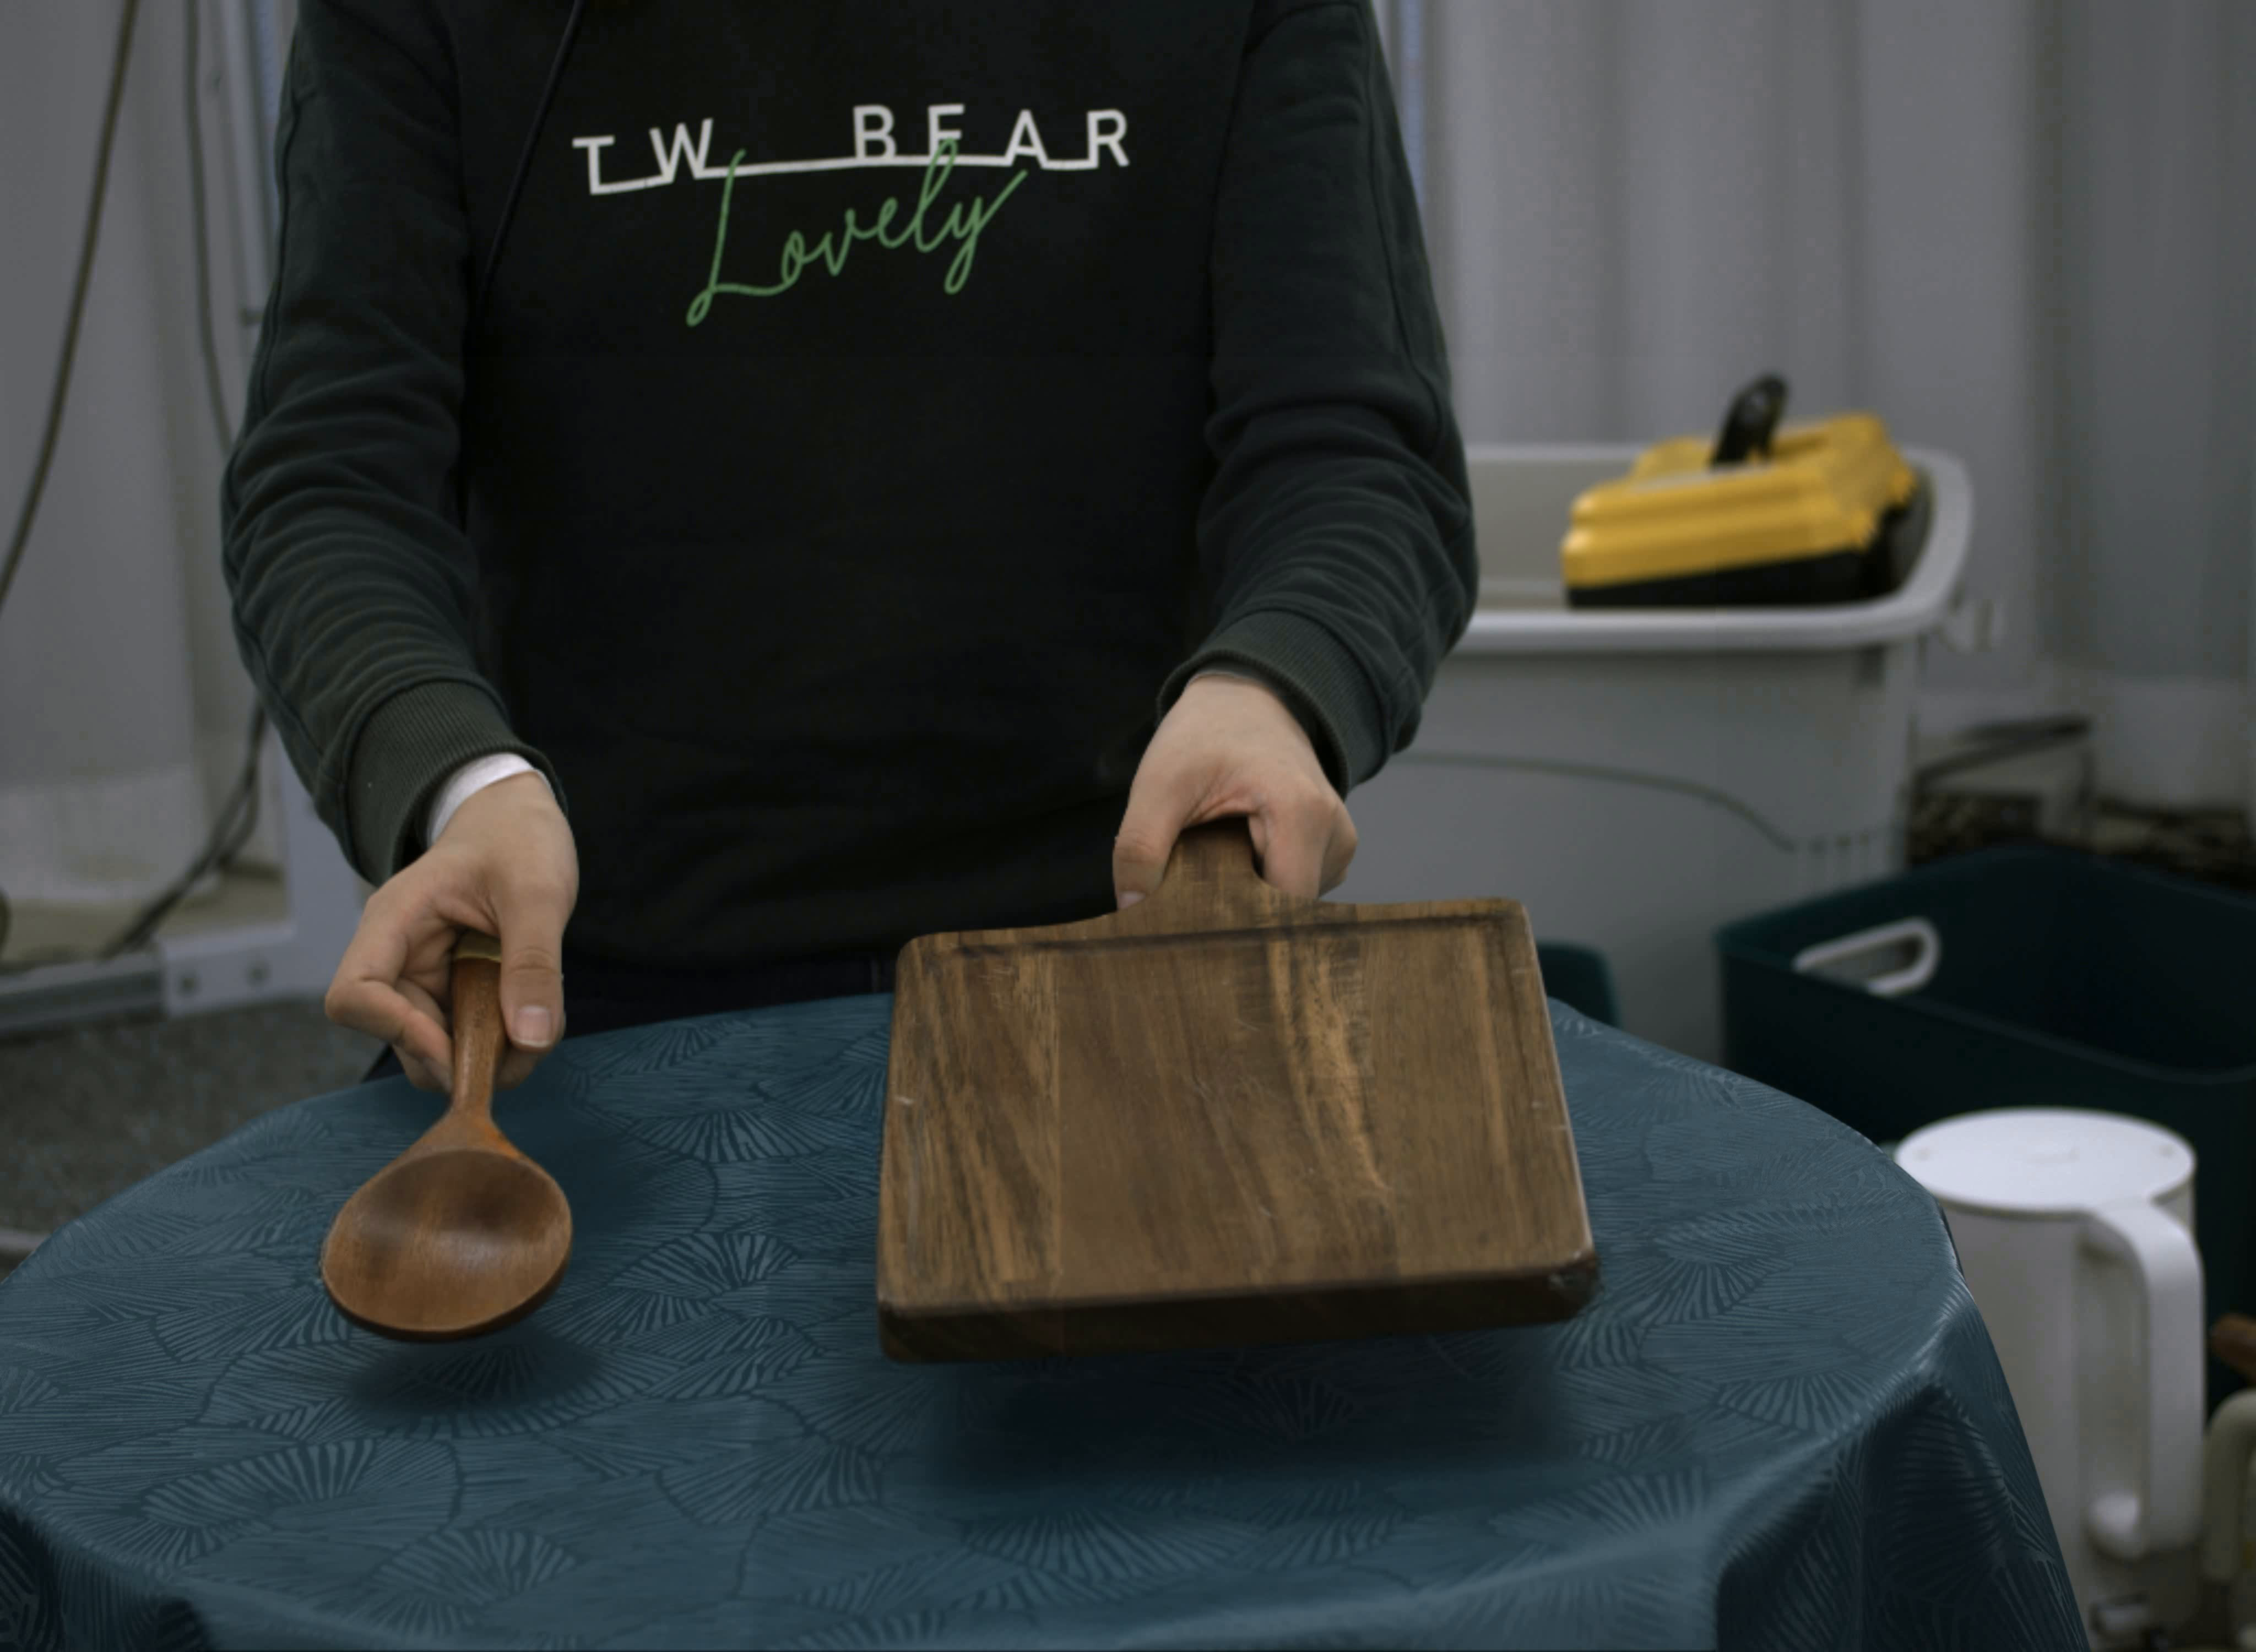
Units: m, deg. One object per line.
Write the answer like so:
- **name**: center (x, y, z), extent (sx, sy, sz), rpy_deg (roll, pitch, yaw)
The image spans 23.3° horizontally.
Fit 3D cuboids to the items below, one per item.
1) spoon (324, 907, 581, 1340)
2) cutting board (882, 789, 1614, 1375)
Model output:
- **spoon**: center (-0.197, 0.089, 1.641), extent (0.075, 0.017, 0.219), rpy_deg (-6, 33, 2)
- **cutting board**: center (0.029, 0.065, 1.624), extent (0.200, 0.023, 0.356), rpy_deg (-5, 22, 1)
